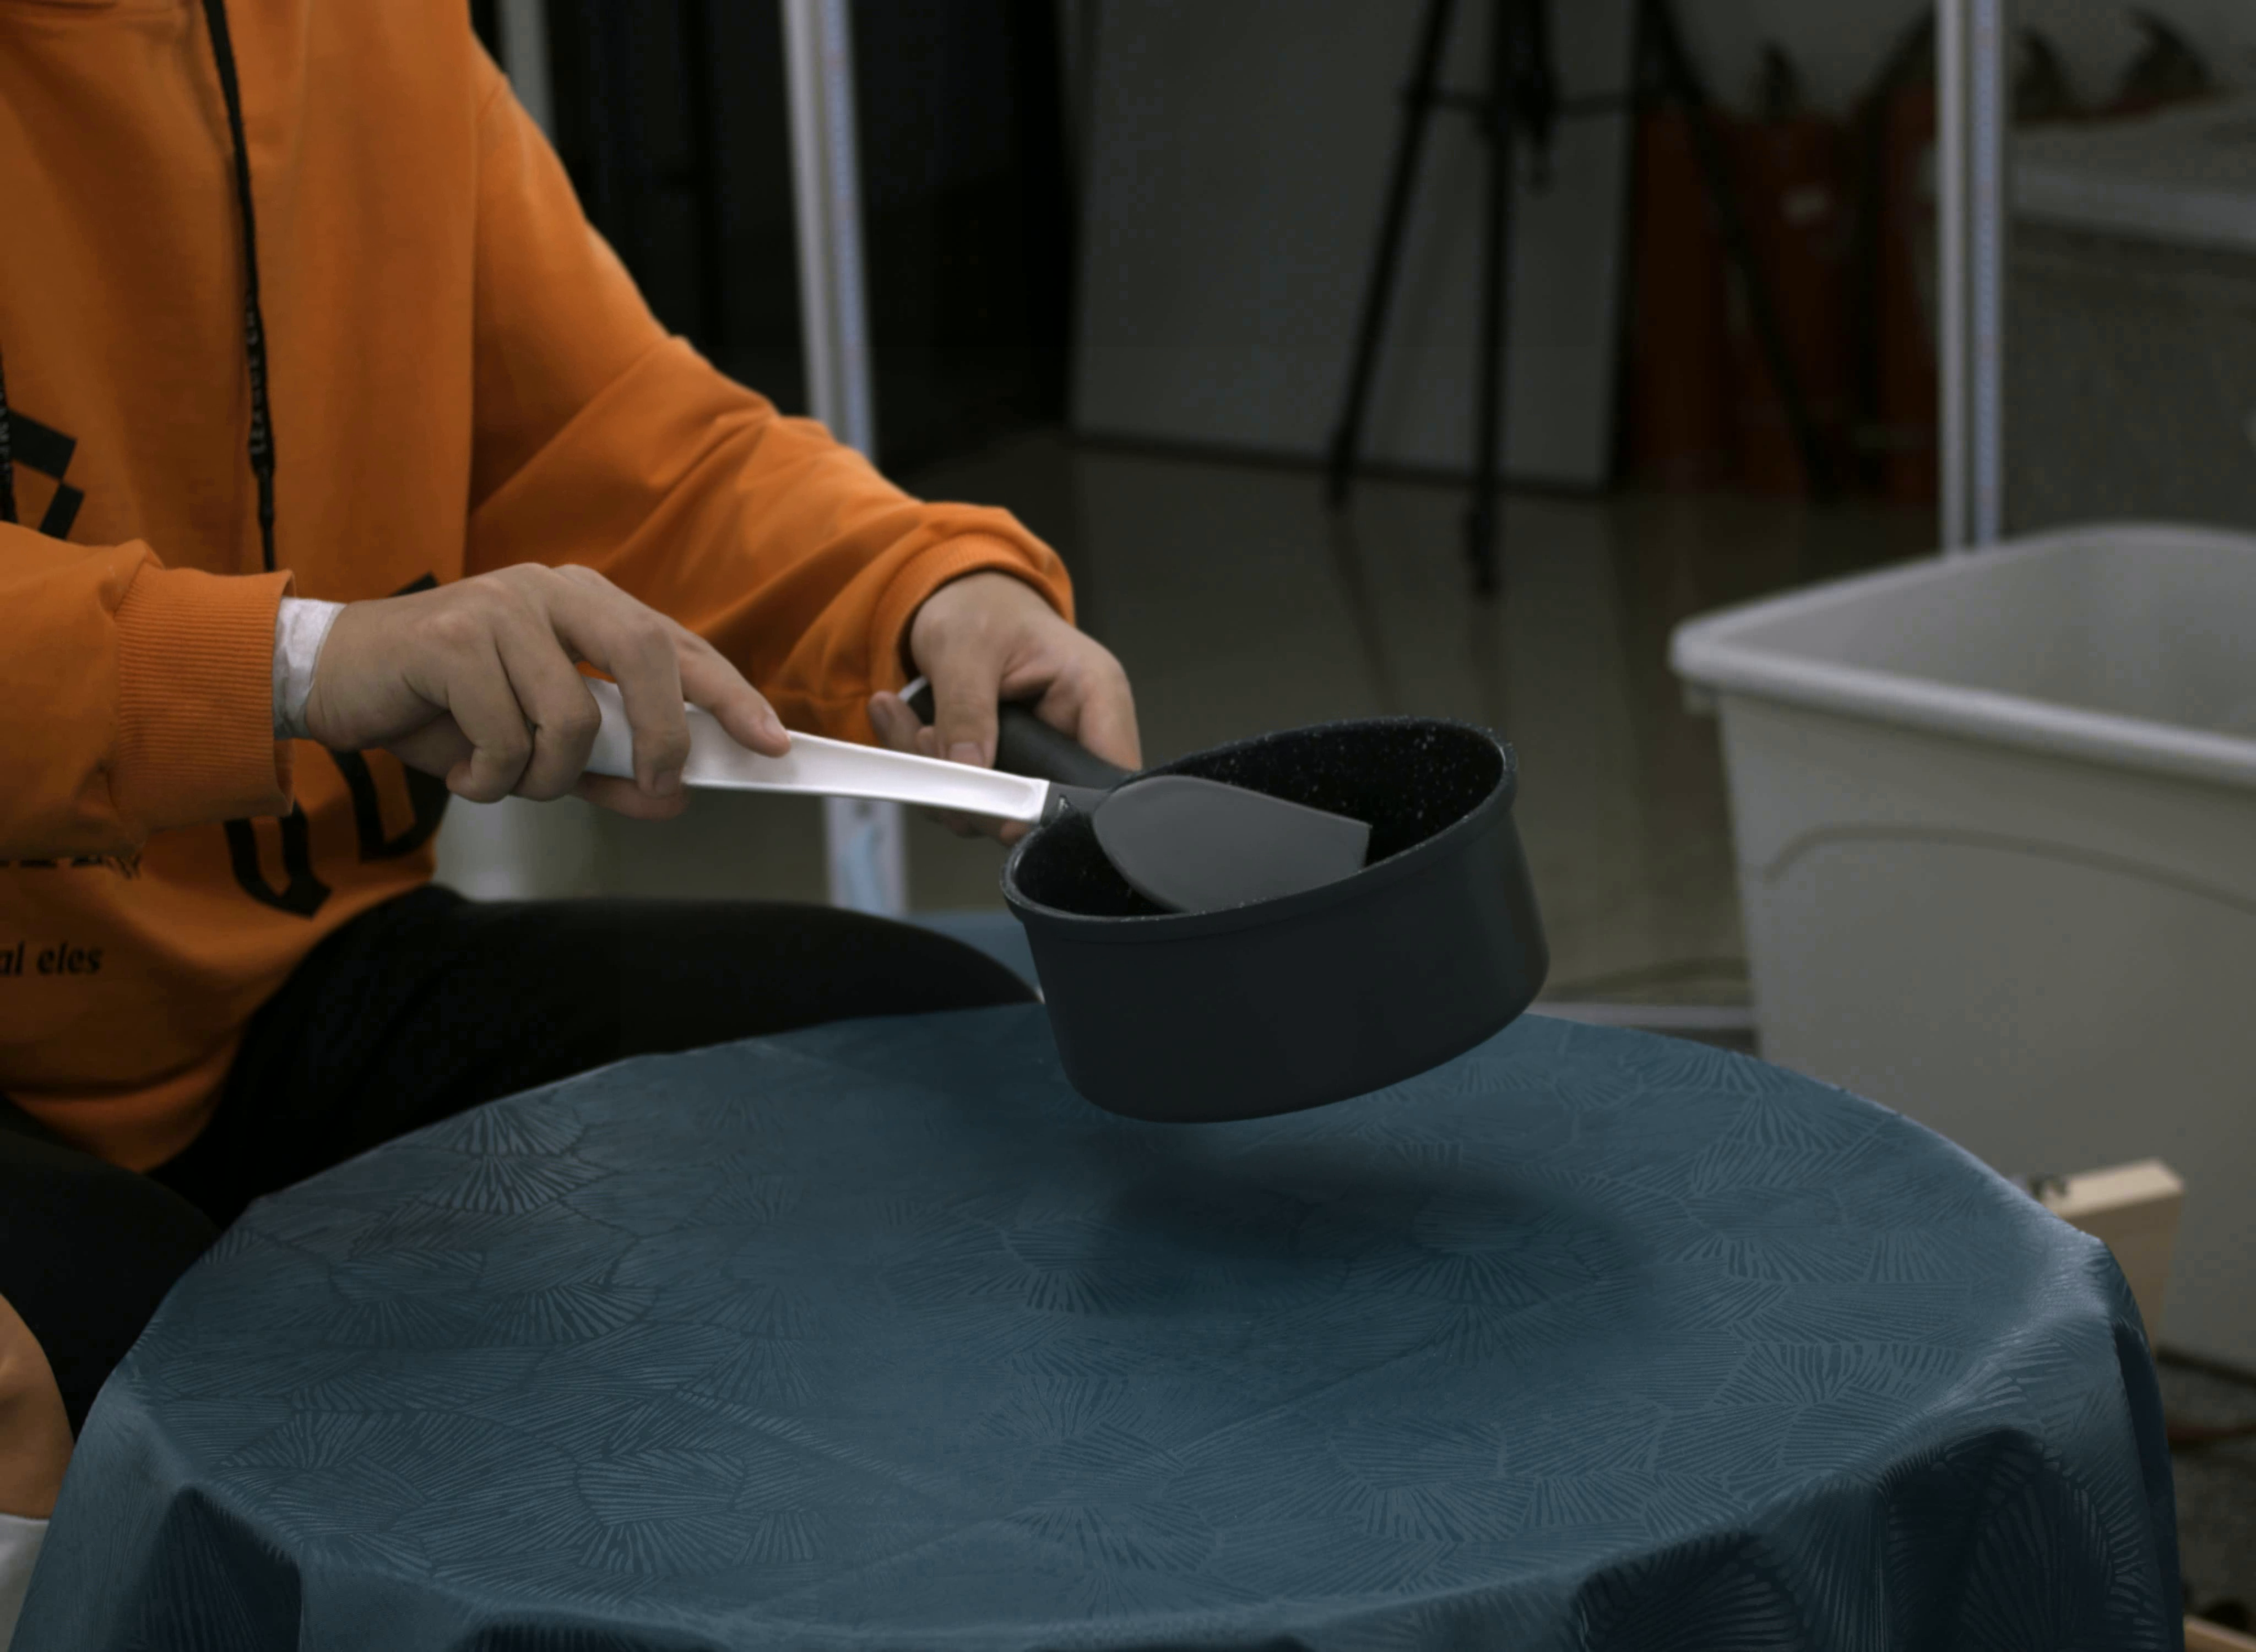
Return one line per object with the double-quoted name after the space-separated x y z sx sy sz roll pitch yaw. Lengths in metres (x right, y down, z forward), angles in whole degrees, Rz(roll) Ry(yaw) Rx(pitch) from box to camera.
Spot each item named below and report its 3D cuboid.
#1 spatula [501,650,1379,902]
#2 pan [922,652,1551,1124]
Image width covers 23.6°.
-0.060 -0.012 1.736 0.284 0.032 0.059 12 59 4 "spatula"
0.015 0.012 1.798 0.169 0.087 0.332 -21 19 -20 "pan"
